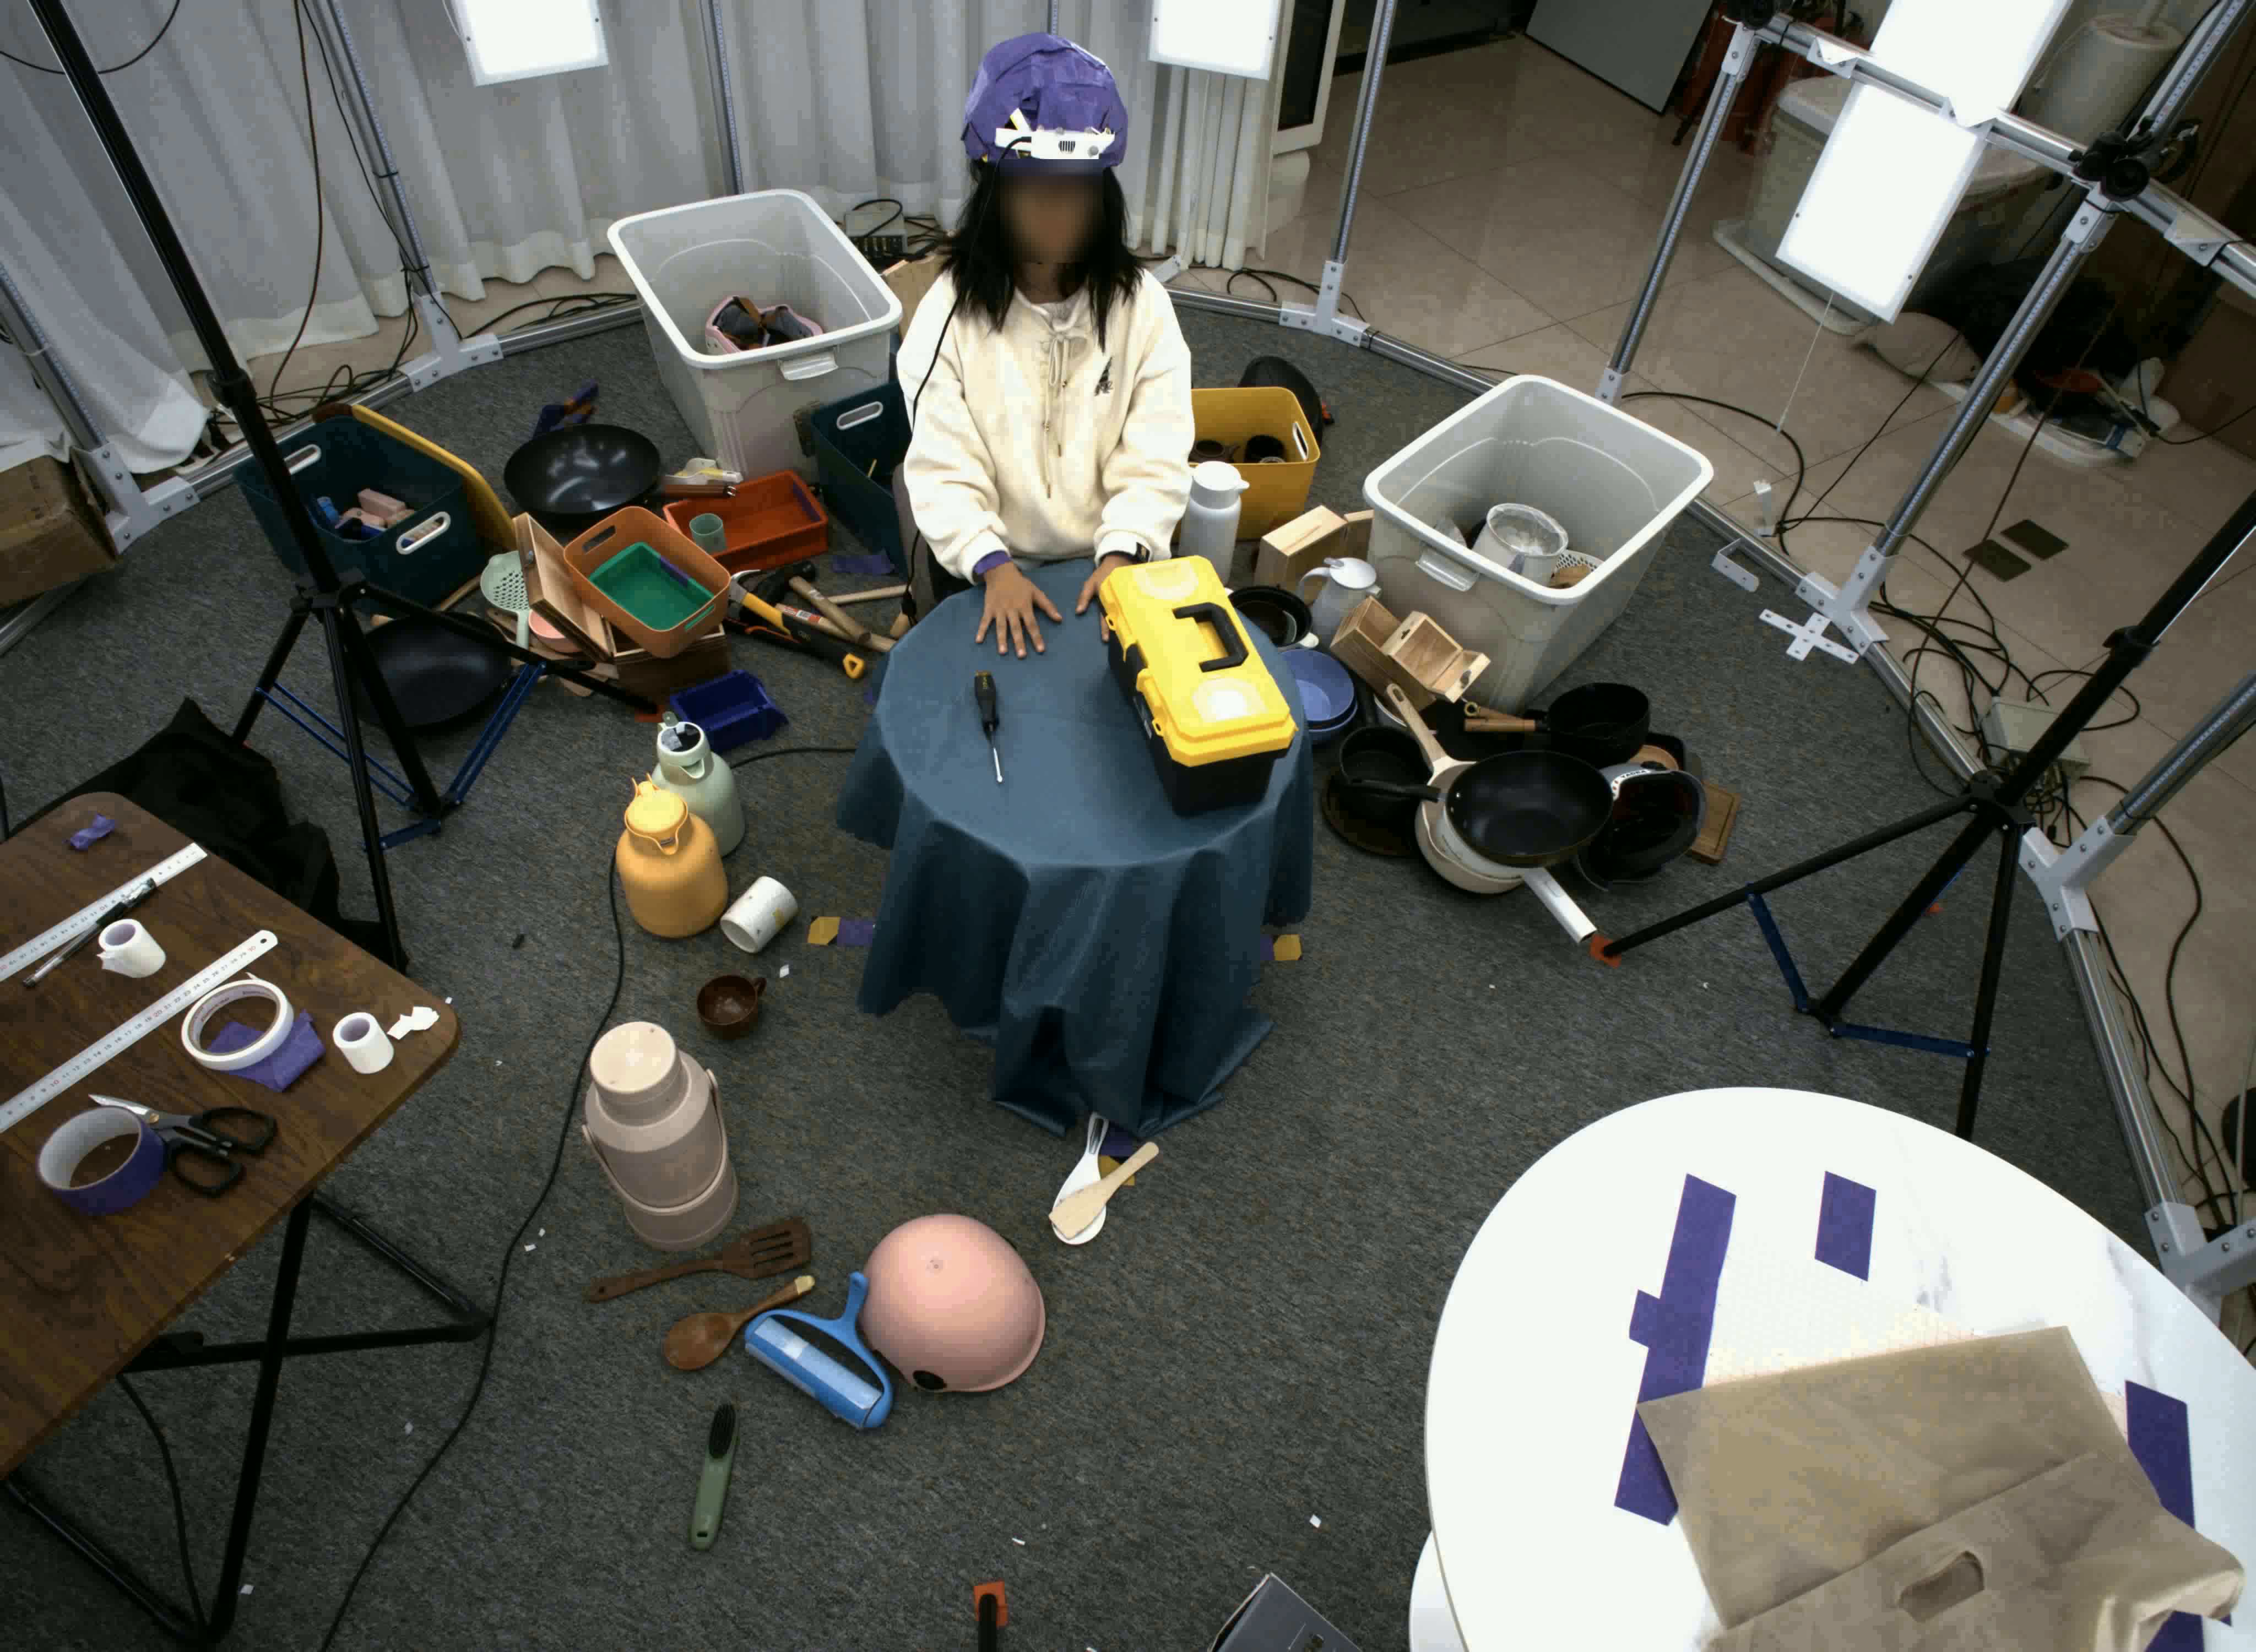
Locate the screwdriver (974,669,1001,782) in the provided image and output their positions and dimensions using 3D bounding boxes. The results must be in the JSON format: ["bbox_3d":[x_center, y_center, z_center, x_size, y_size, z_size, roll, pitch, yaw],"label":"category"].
[{"bbox_3d":[-0.189,-0.140,1.758,0.031,0.031,0.201,-5,51,-9],"label":"screwdriver"}]

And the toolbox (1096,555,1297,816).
[{"bbox_3d":[0.083,-0.192,1.730,0.181,0.168,0.360,-11,51,-13],"label":"toolbox"}]
